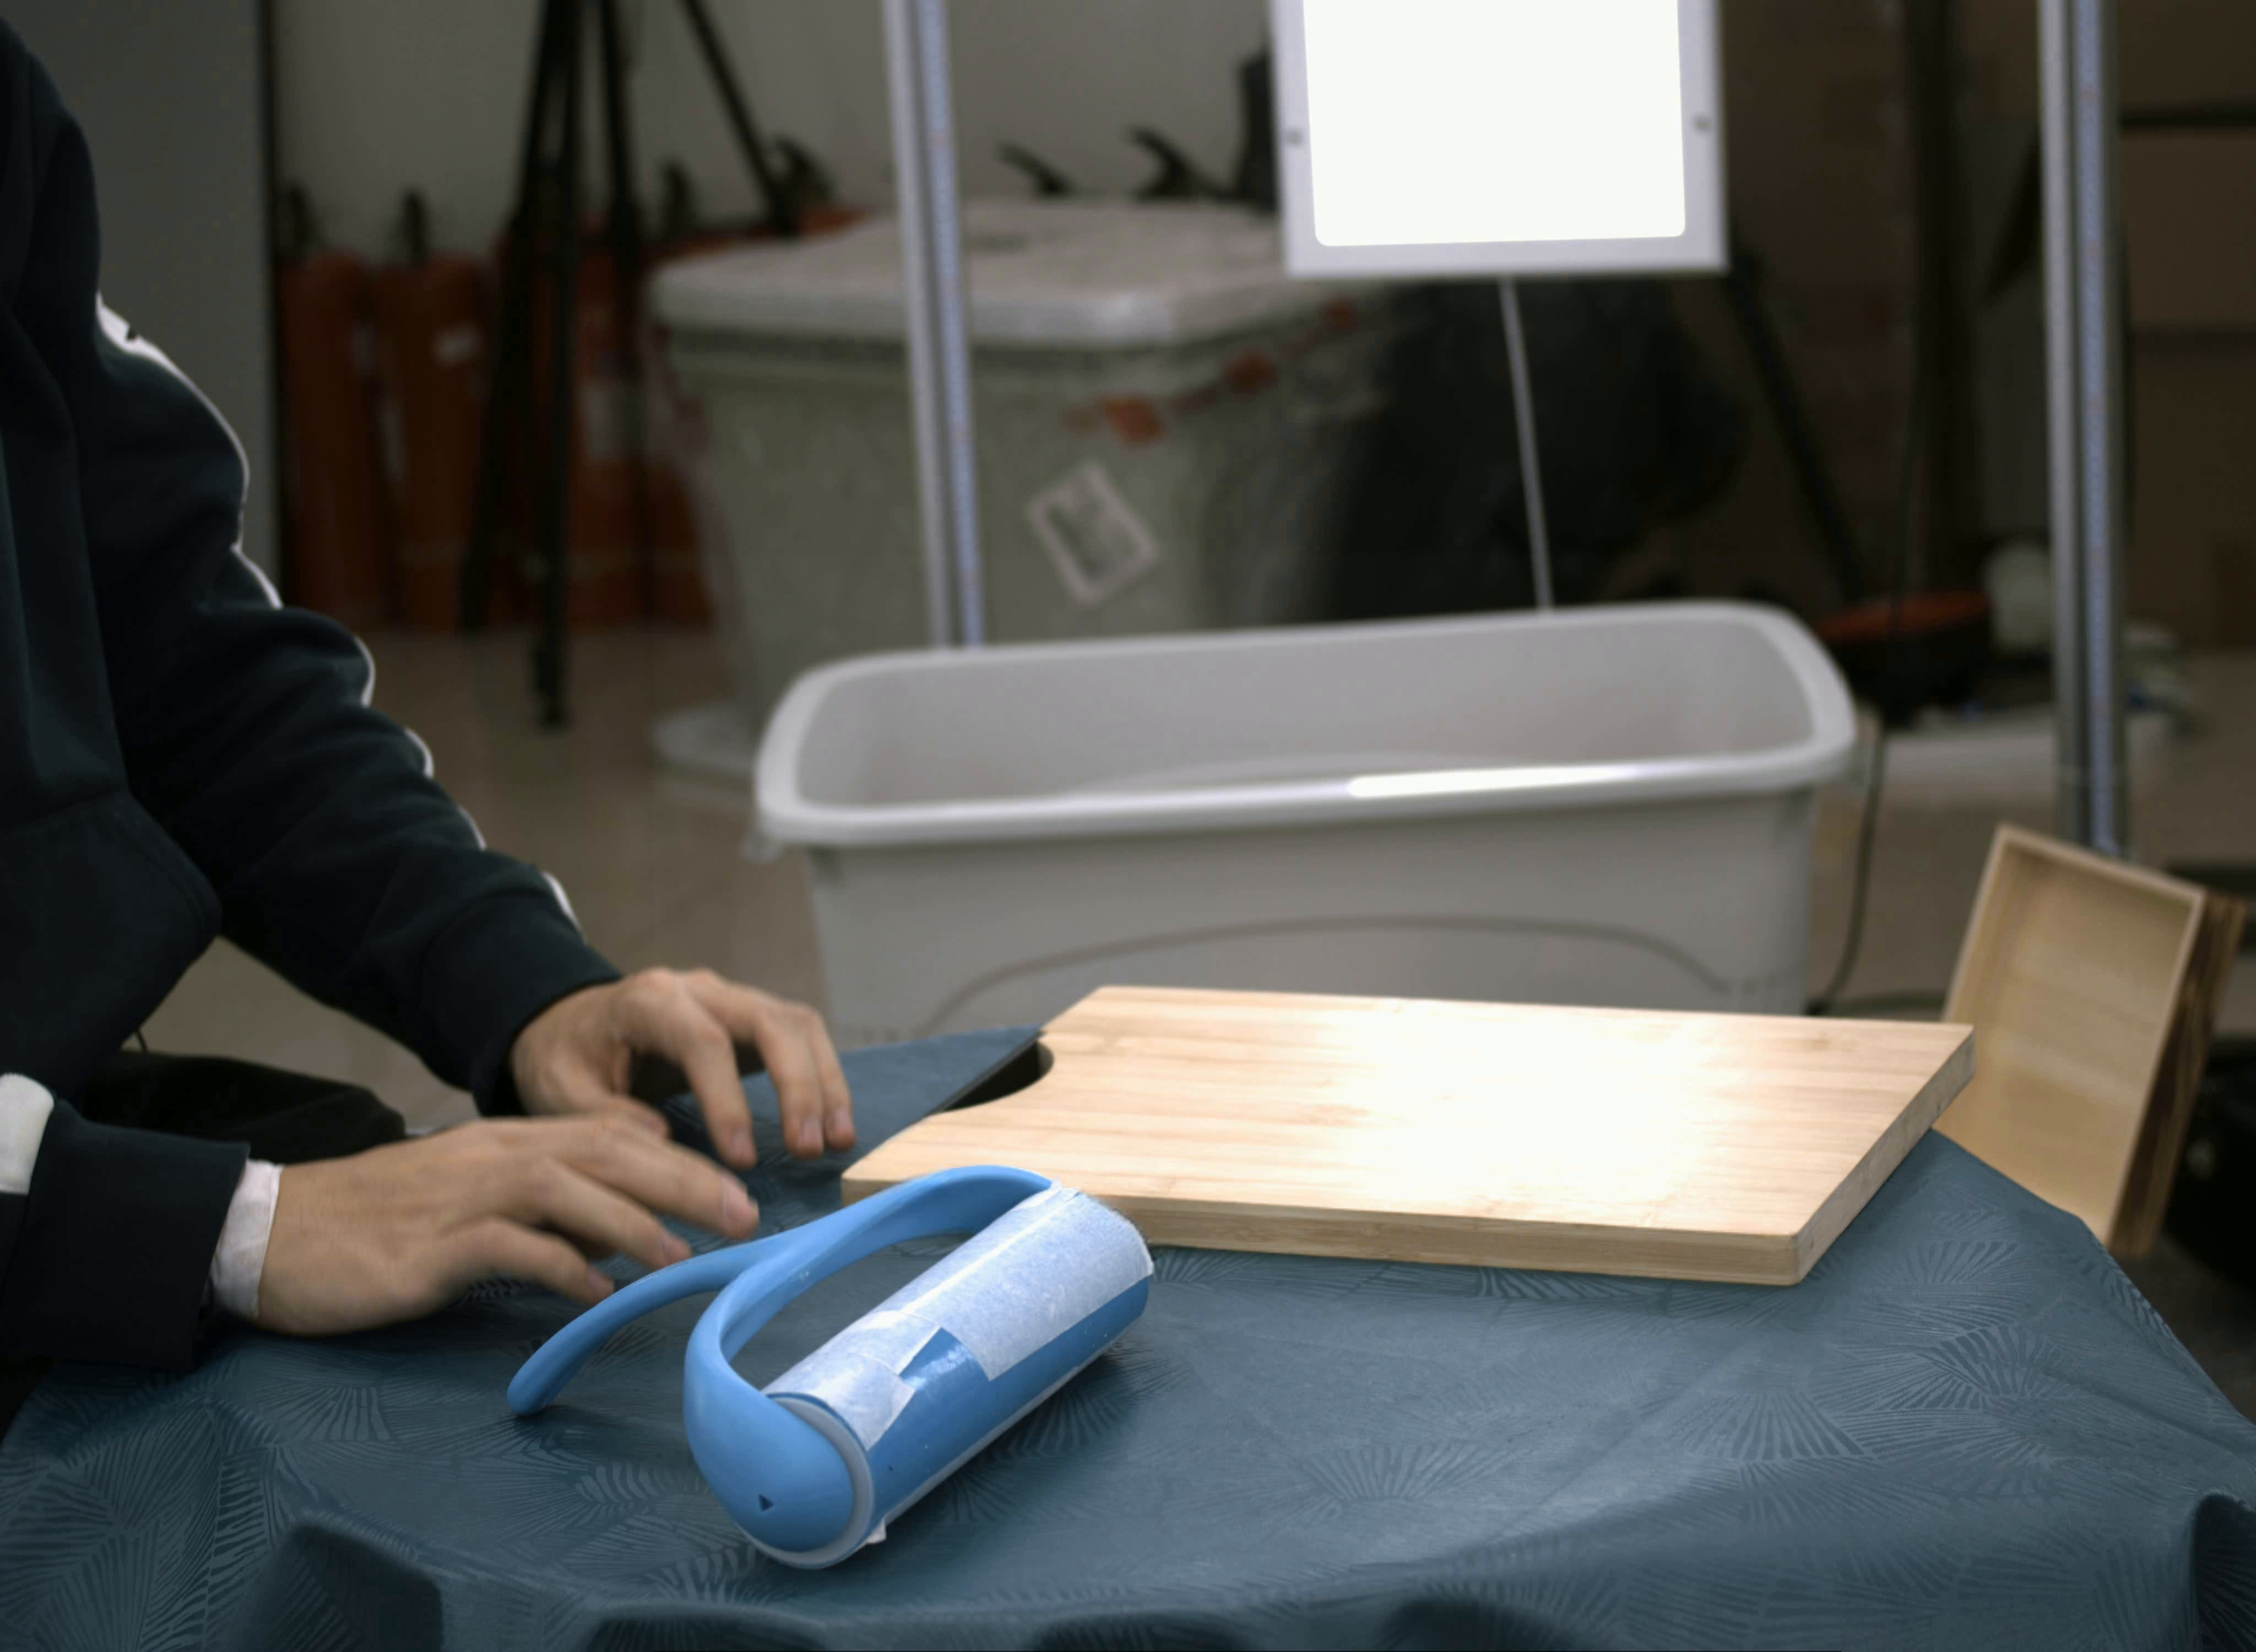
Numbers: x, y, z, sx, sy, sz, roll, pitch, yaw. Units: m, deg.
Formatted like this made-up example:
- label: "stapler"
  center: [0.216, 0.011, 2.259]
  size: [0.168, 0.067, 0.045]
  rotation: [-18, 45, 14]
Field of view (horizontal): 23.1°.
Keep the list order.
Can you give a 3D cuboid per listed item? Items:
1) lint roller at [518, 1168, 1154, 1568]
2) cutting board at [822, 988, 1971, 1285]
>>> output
- label: "lint roller"
  center: [-0.109, 0.160, 1.678]
  size: [0.183, 0.068, 0.224]
  rotation: [1, 16, 23]
- label: "cutting board"
  center: [0.098, 0.104, 1.916]
  size: [0.354, 0.023, 0.246]
  rotation: [1, 15, 24]
